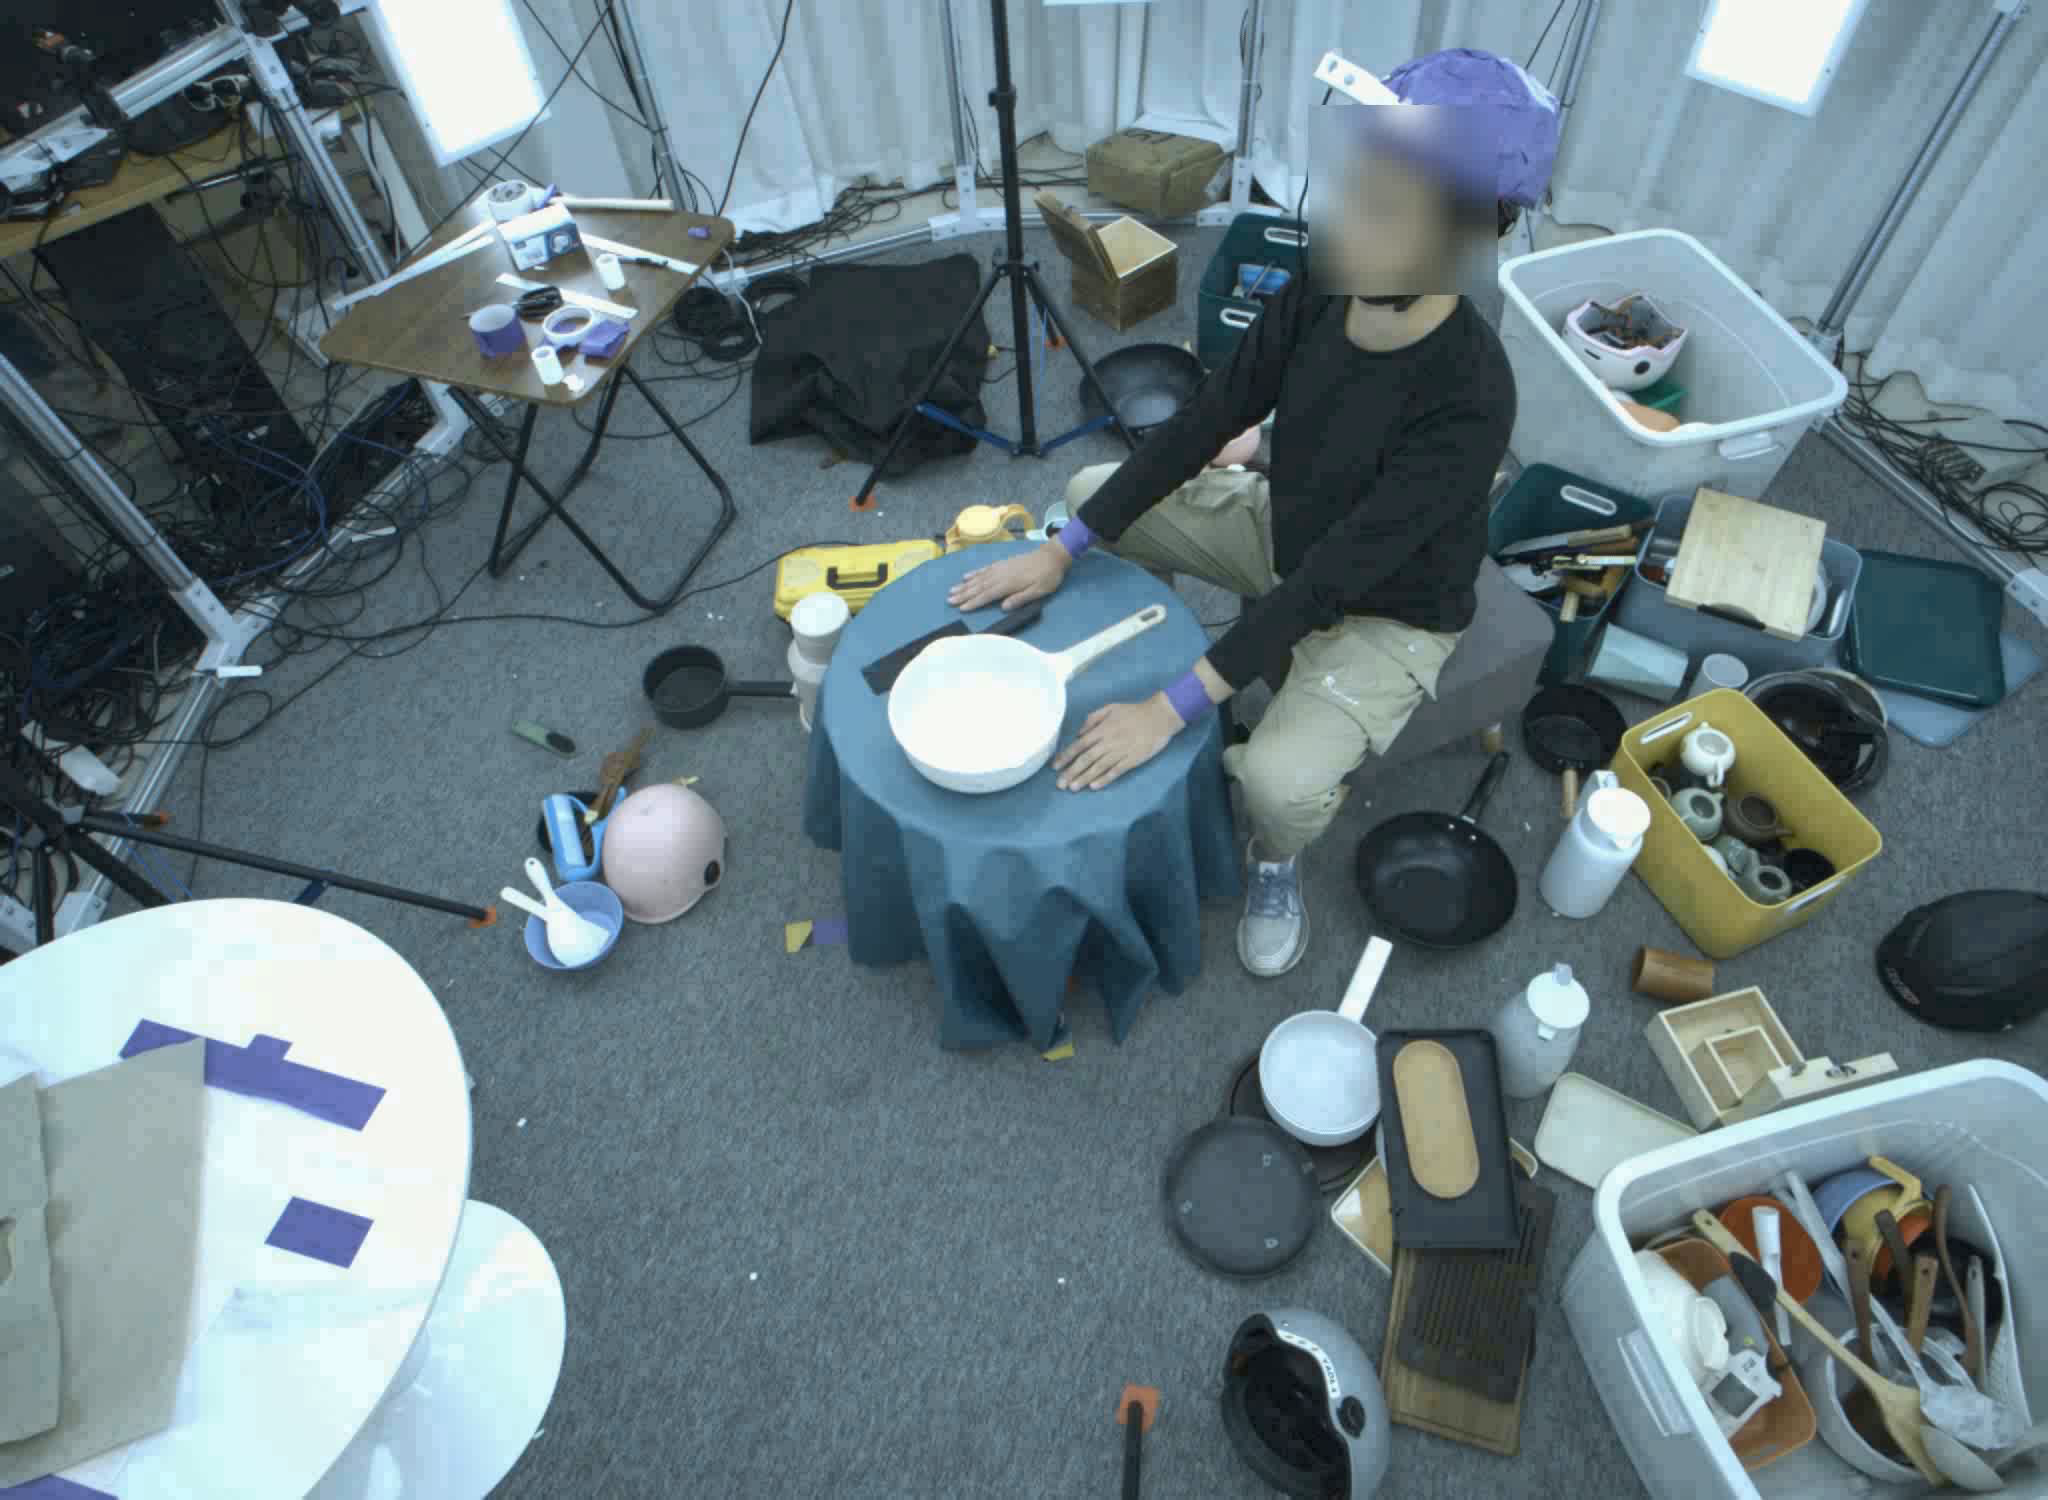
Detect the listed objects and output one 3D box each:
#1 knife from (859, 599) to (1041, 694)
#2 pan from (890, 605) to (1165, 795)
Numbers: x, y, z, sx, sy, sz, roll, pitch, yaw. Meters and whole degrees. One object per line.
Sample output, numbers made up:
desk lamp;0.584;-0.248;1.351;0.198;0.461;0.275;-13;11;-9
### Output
knife;-0.109;-0.168;1.899;0.304;0.021;0.079;-23;56;-12
pan;0.018;-0.086;1.783;0.438;0.103;0.258;-25;56;-15
